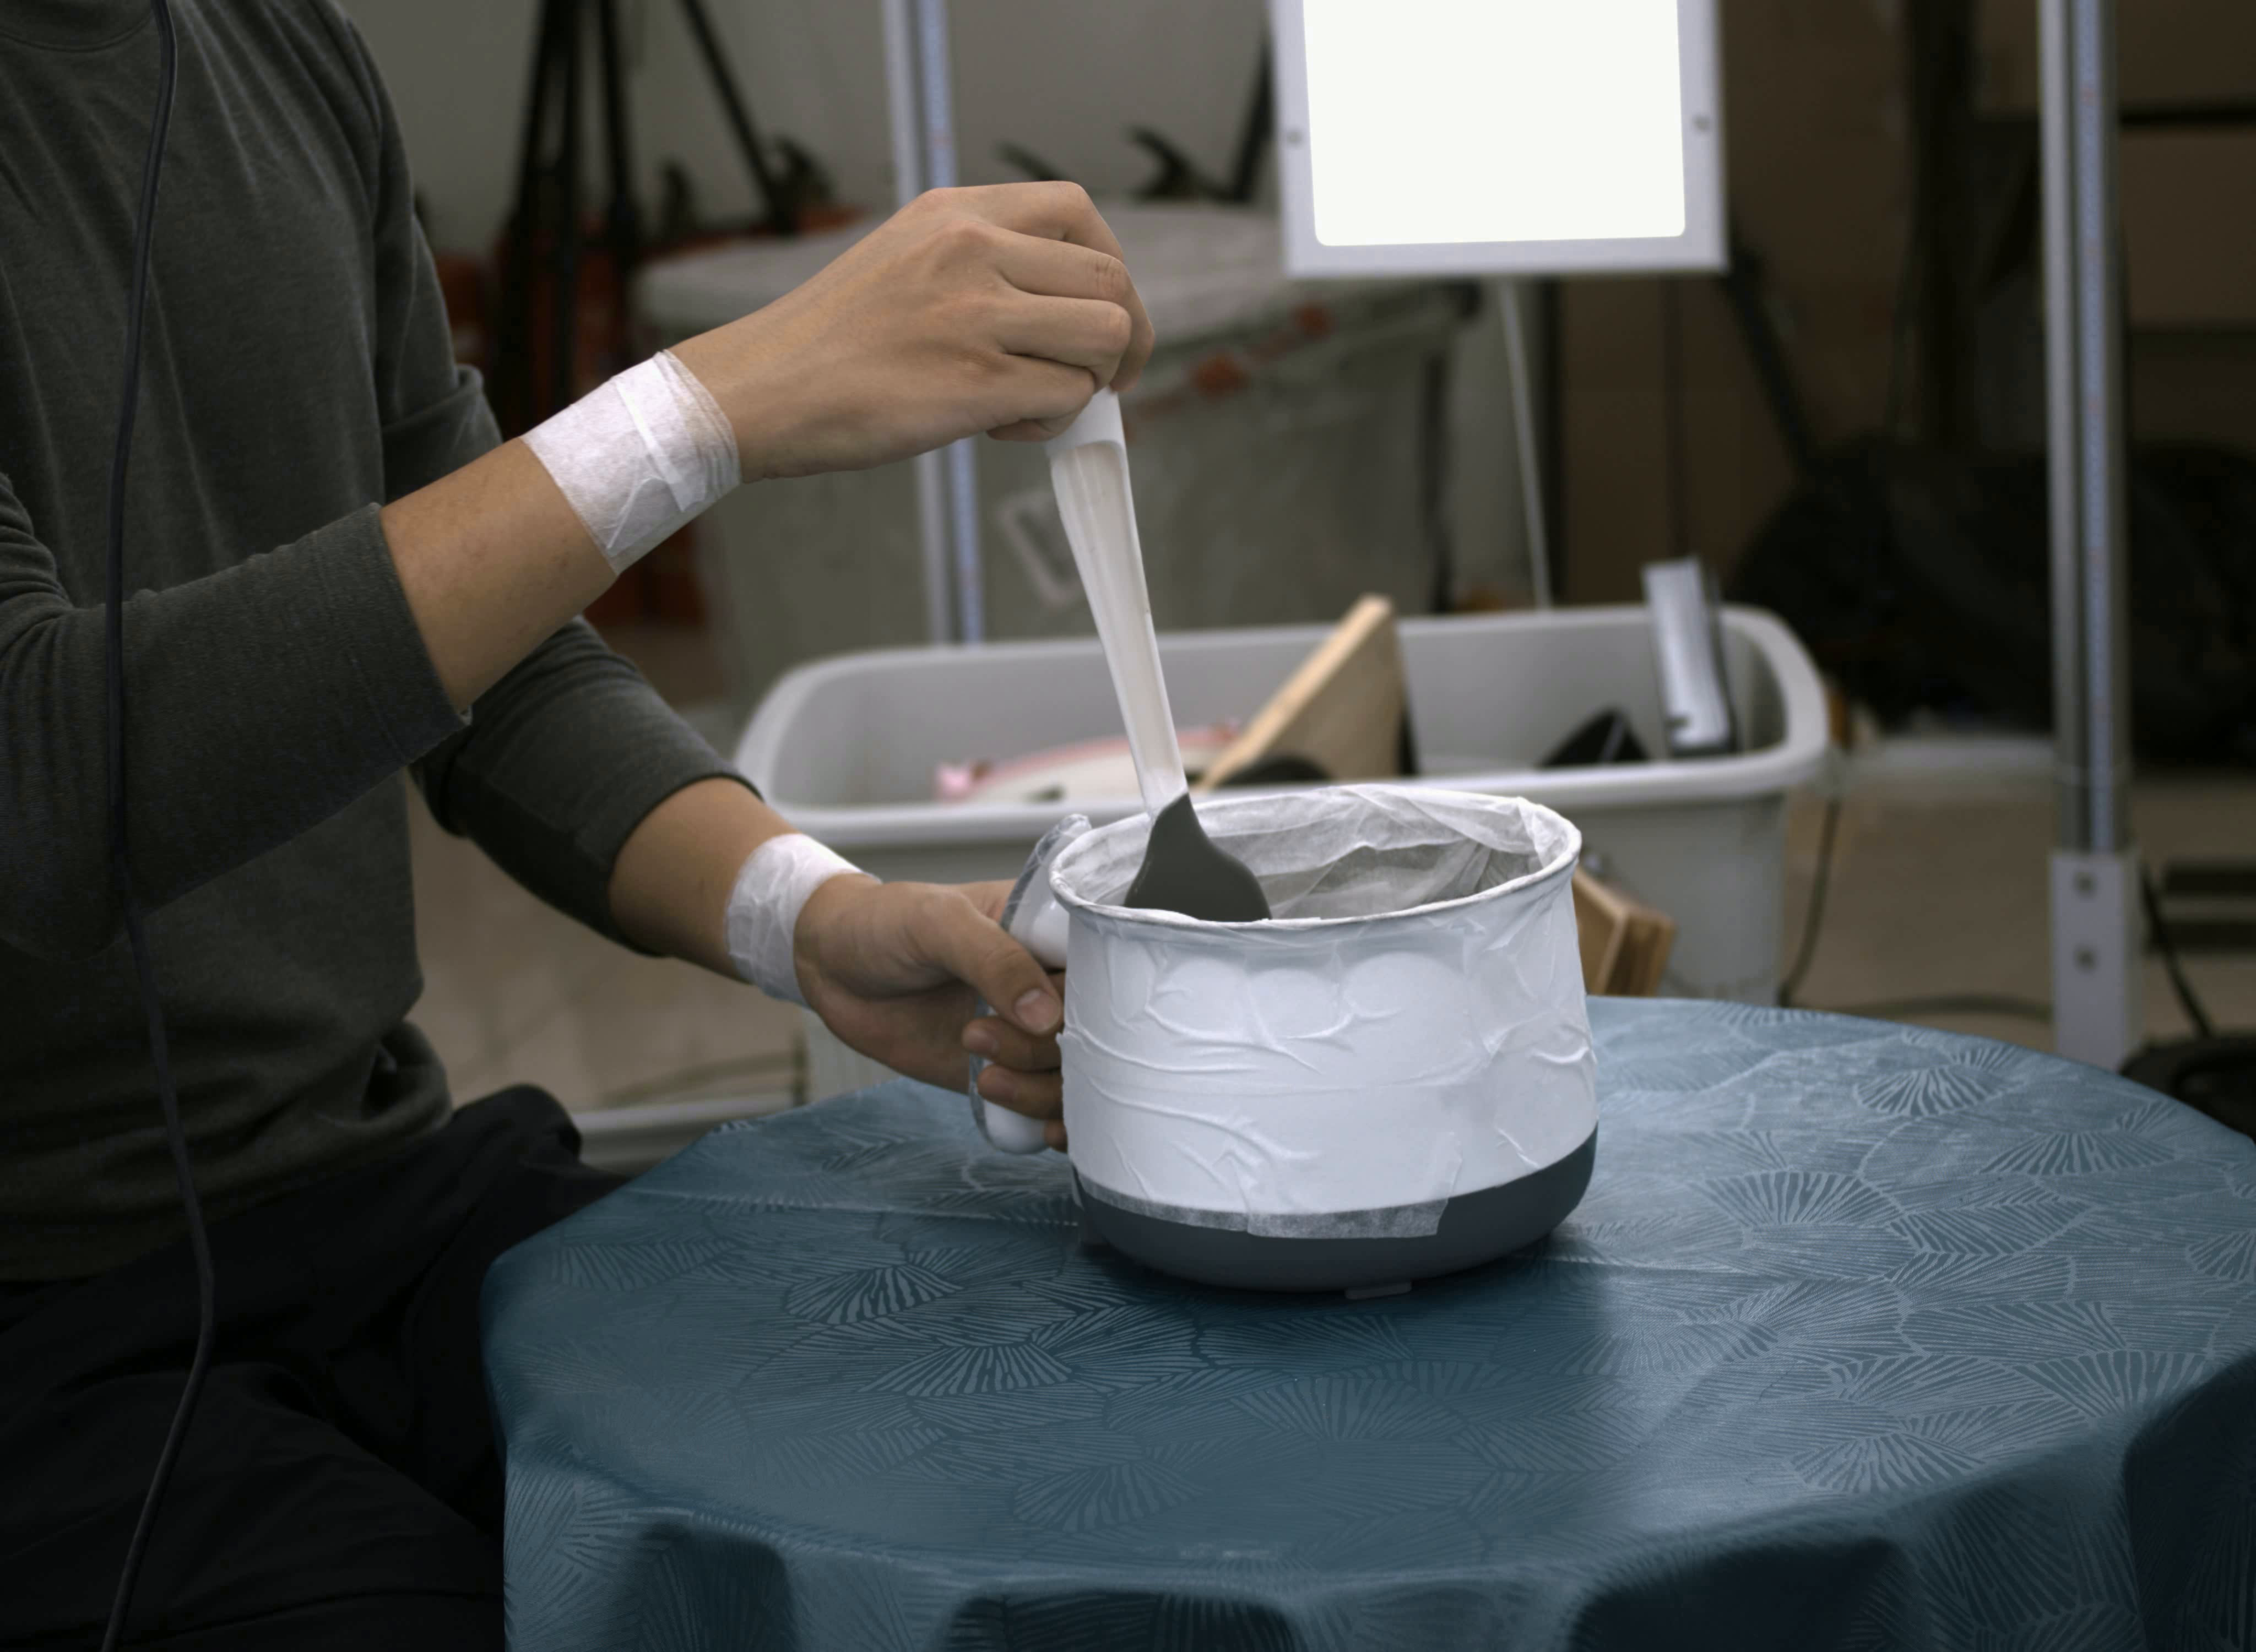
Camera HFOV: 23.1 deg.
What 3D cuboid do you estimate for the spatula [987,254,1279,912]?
[{"bbox_3d":[0.004,-0.048,1.791,0.058,0.288,0.032,-16,25,-1],"label":"spatula"}]

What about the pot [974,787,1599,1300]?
[{"bbox_3d":[0.044,0.068,1.838,0.238,0.137,0.174,5,17,37],"label":"pot"}]
